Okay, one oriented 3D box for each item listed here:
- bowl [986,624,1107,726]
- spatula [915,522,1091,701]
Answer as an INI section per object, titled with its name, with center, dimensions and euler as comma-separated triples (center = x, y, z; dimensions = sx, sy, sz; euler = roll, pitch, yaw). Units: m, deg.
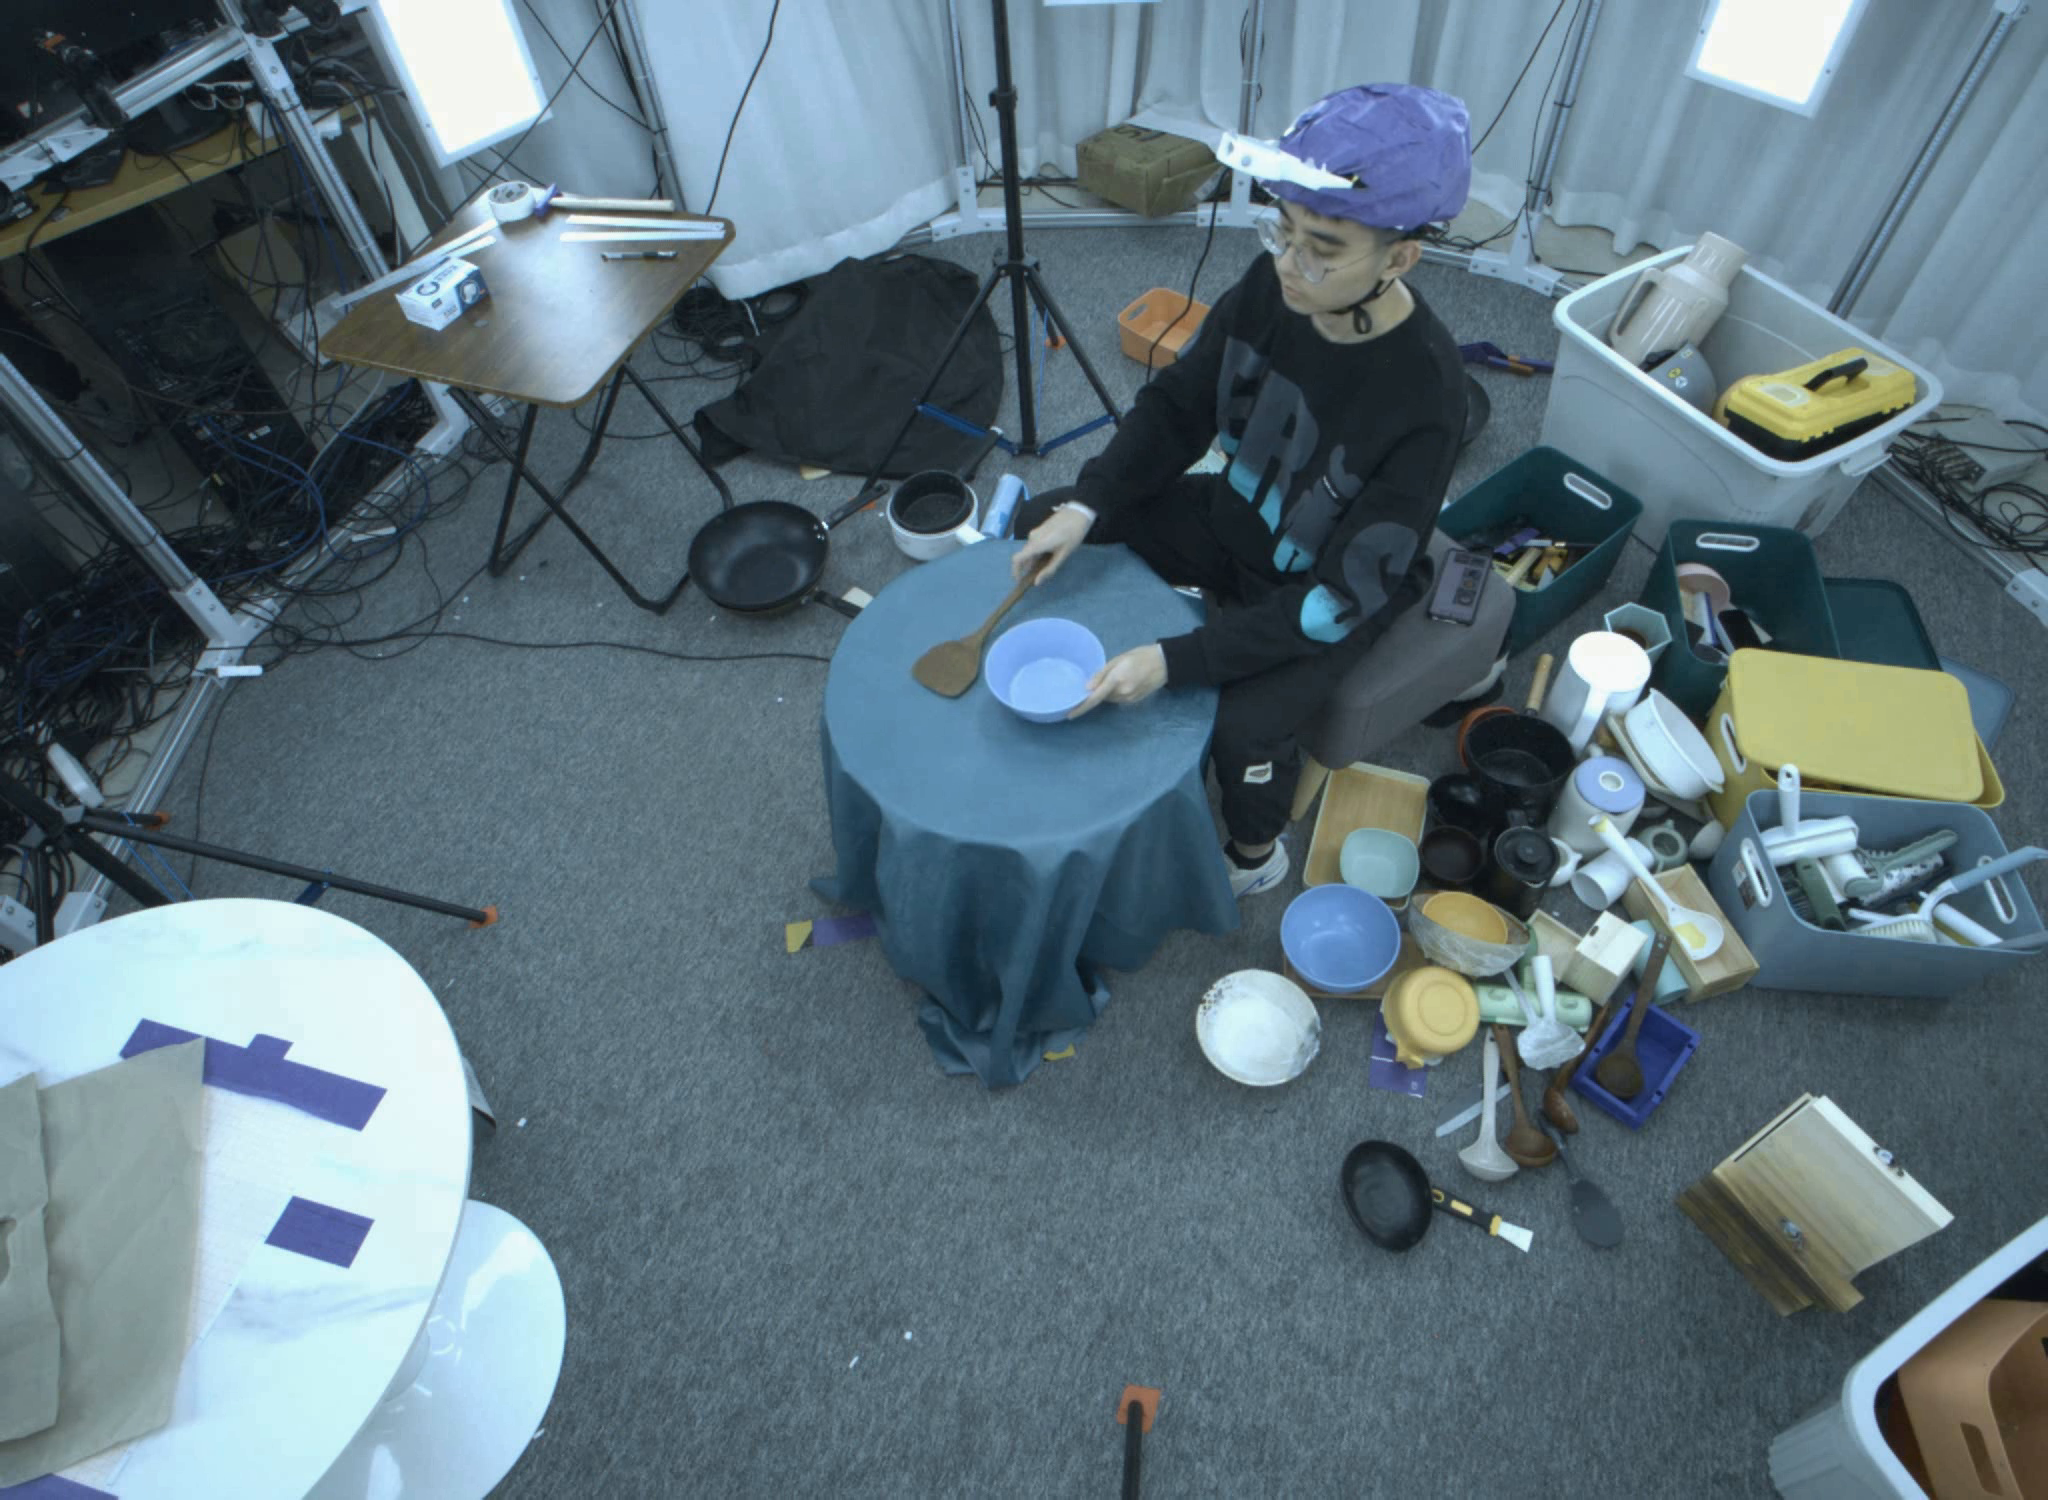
[bowl]
center = 0.035, -0.101, 1.818
dimensions = 0.176, 0.071, 0.174
euler = -1, 56, 3
[spatula]
center = -0.020, -0.227, 1.919
dimensions = 0.094, 0.016, 0.387
euler = 34, 72, 20
